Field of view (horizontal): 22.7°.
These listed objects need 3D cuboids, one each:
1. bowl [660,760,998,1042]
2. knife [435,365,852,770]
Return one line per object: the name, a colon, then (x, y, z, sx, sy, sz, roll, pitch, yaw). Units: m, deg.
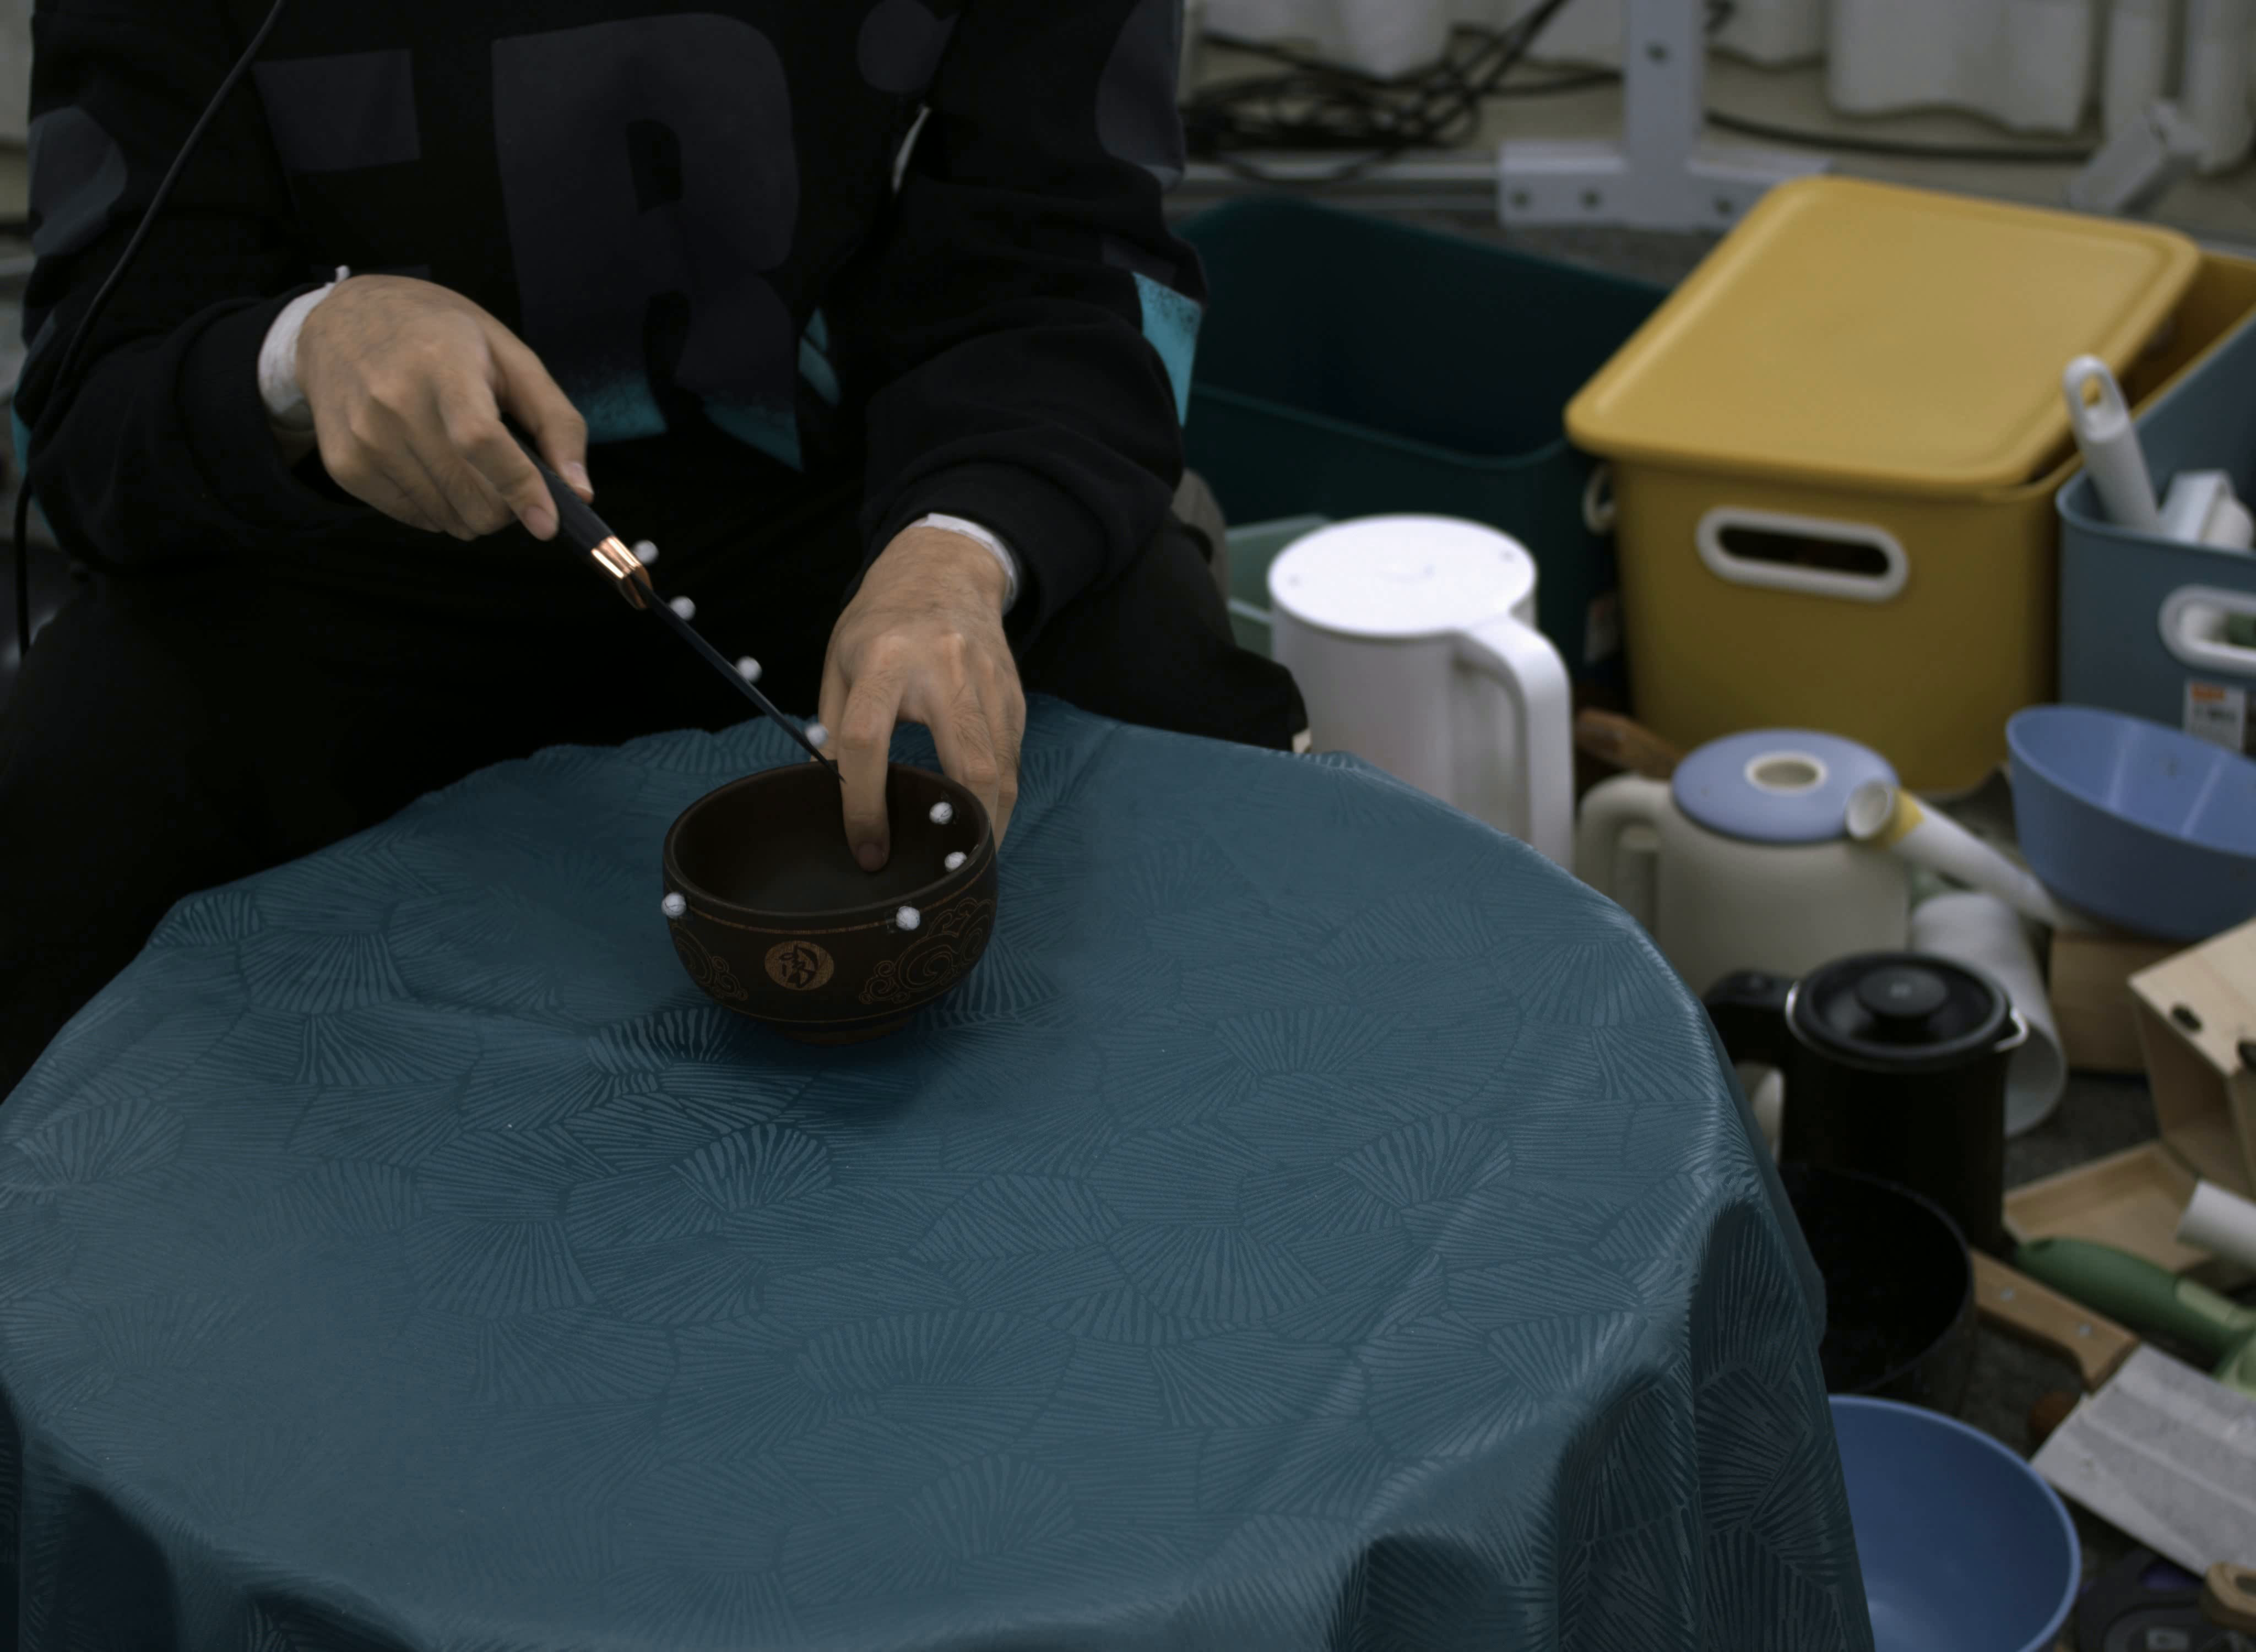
bowl: (-0.103, 0.032, 1.964, 0.117, 0.069, 0.120, -1, 25, 1)
knife: (-0.171, -0.091, 1.967, 0.227, 0.017, 0.026, 44, 11, 27)
